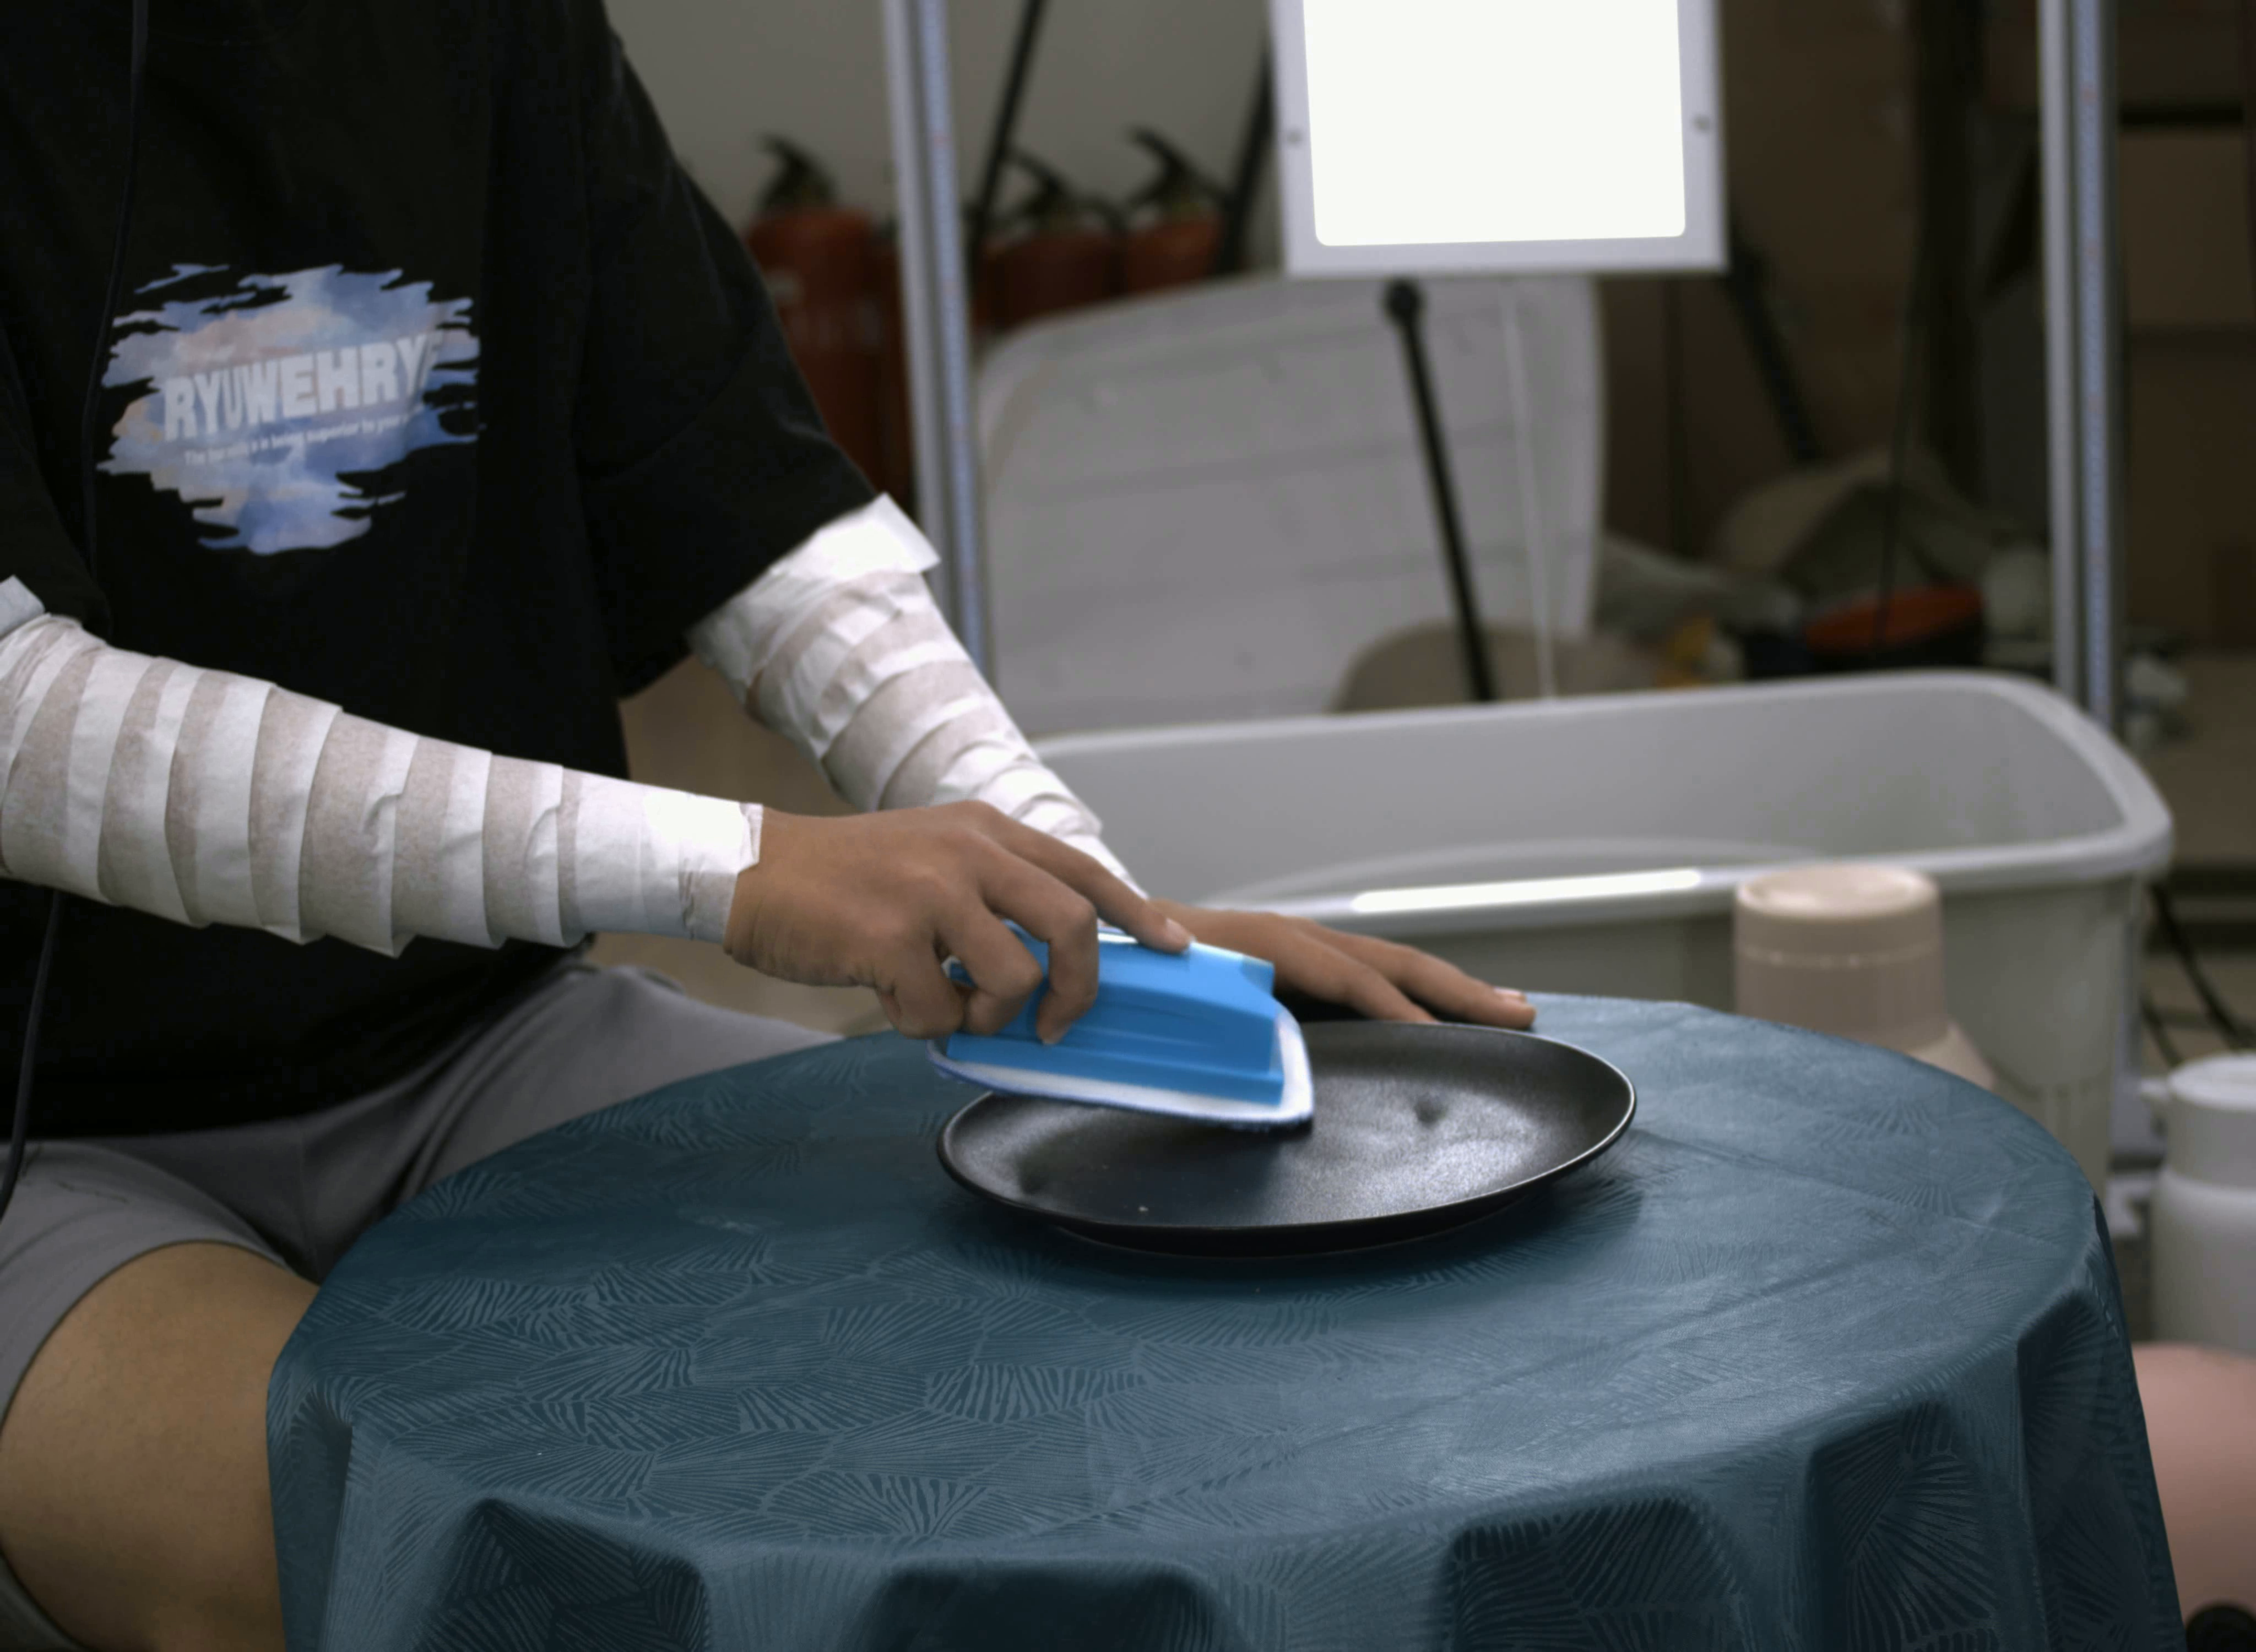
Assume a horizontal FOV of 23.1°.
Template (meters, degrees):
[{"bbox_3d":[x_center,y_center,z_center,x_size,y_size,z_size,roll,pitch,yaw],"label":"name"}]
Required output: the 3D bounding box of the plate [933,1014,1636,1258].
[{"bbox_3d":[0.055,0.109,1.897,0.244,0.023,0.244,-5,14,0],"label":"plate"}]

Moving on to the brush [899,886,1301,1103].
[{"bbox_3d":[-0.007,0.058,1.942,0.142,0.056,0.084,11,20,-8],"label":"brush"}]
